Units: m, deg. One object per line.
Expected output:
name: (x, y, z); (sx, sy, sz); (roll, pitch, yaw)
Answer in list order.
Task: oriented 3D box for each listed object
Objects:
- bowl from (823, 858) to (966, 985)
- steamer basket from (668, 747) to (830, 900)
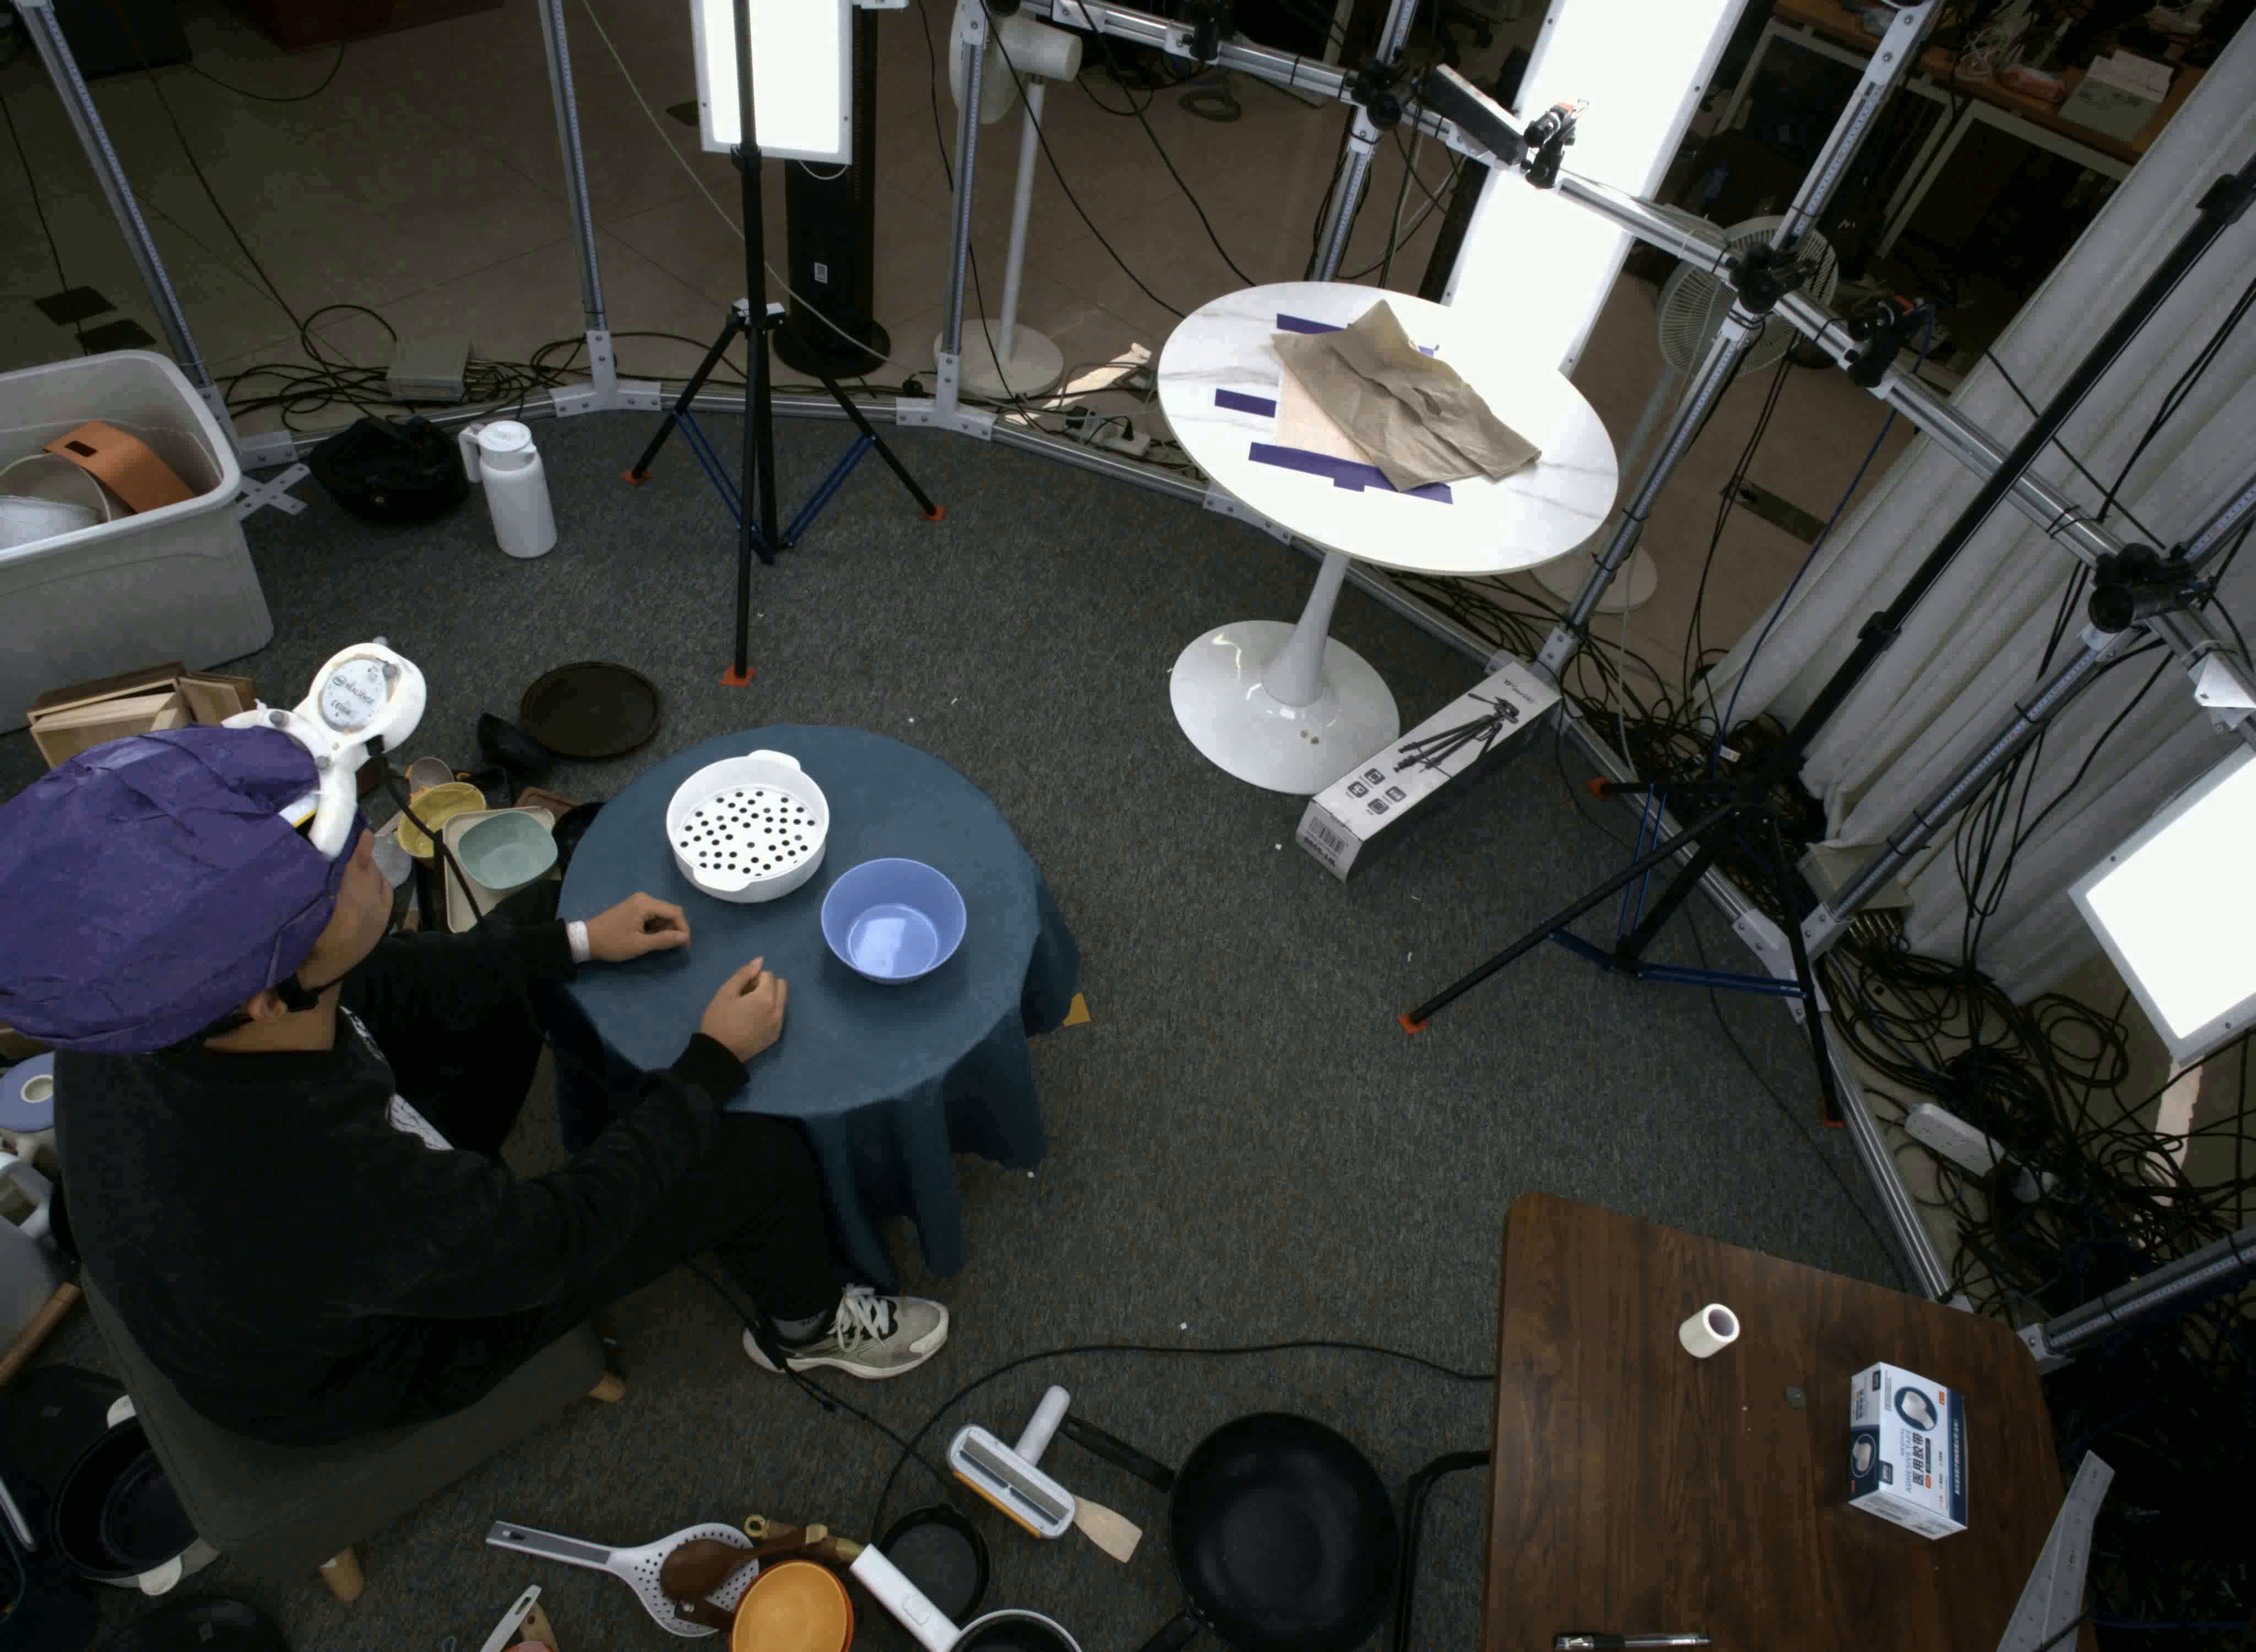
bowl: (-0.291, 0.128, 1.622); (0.175, 0.072, 0.173); (7, 52, -8)
steamer basket: (-0.487, 0.001, 1.668); (0.201, 0.070, 0.227); (14, 50, -4)
